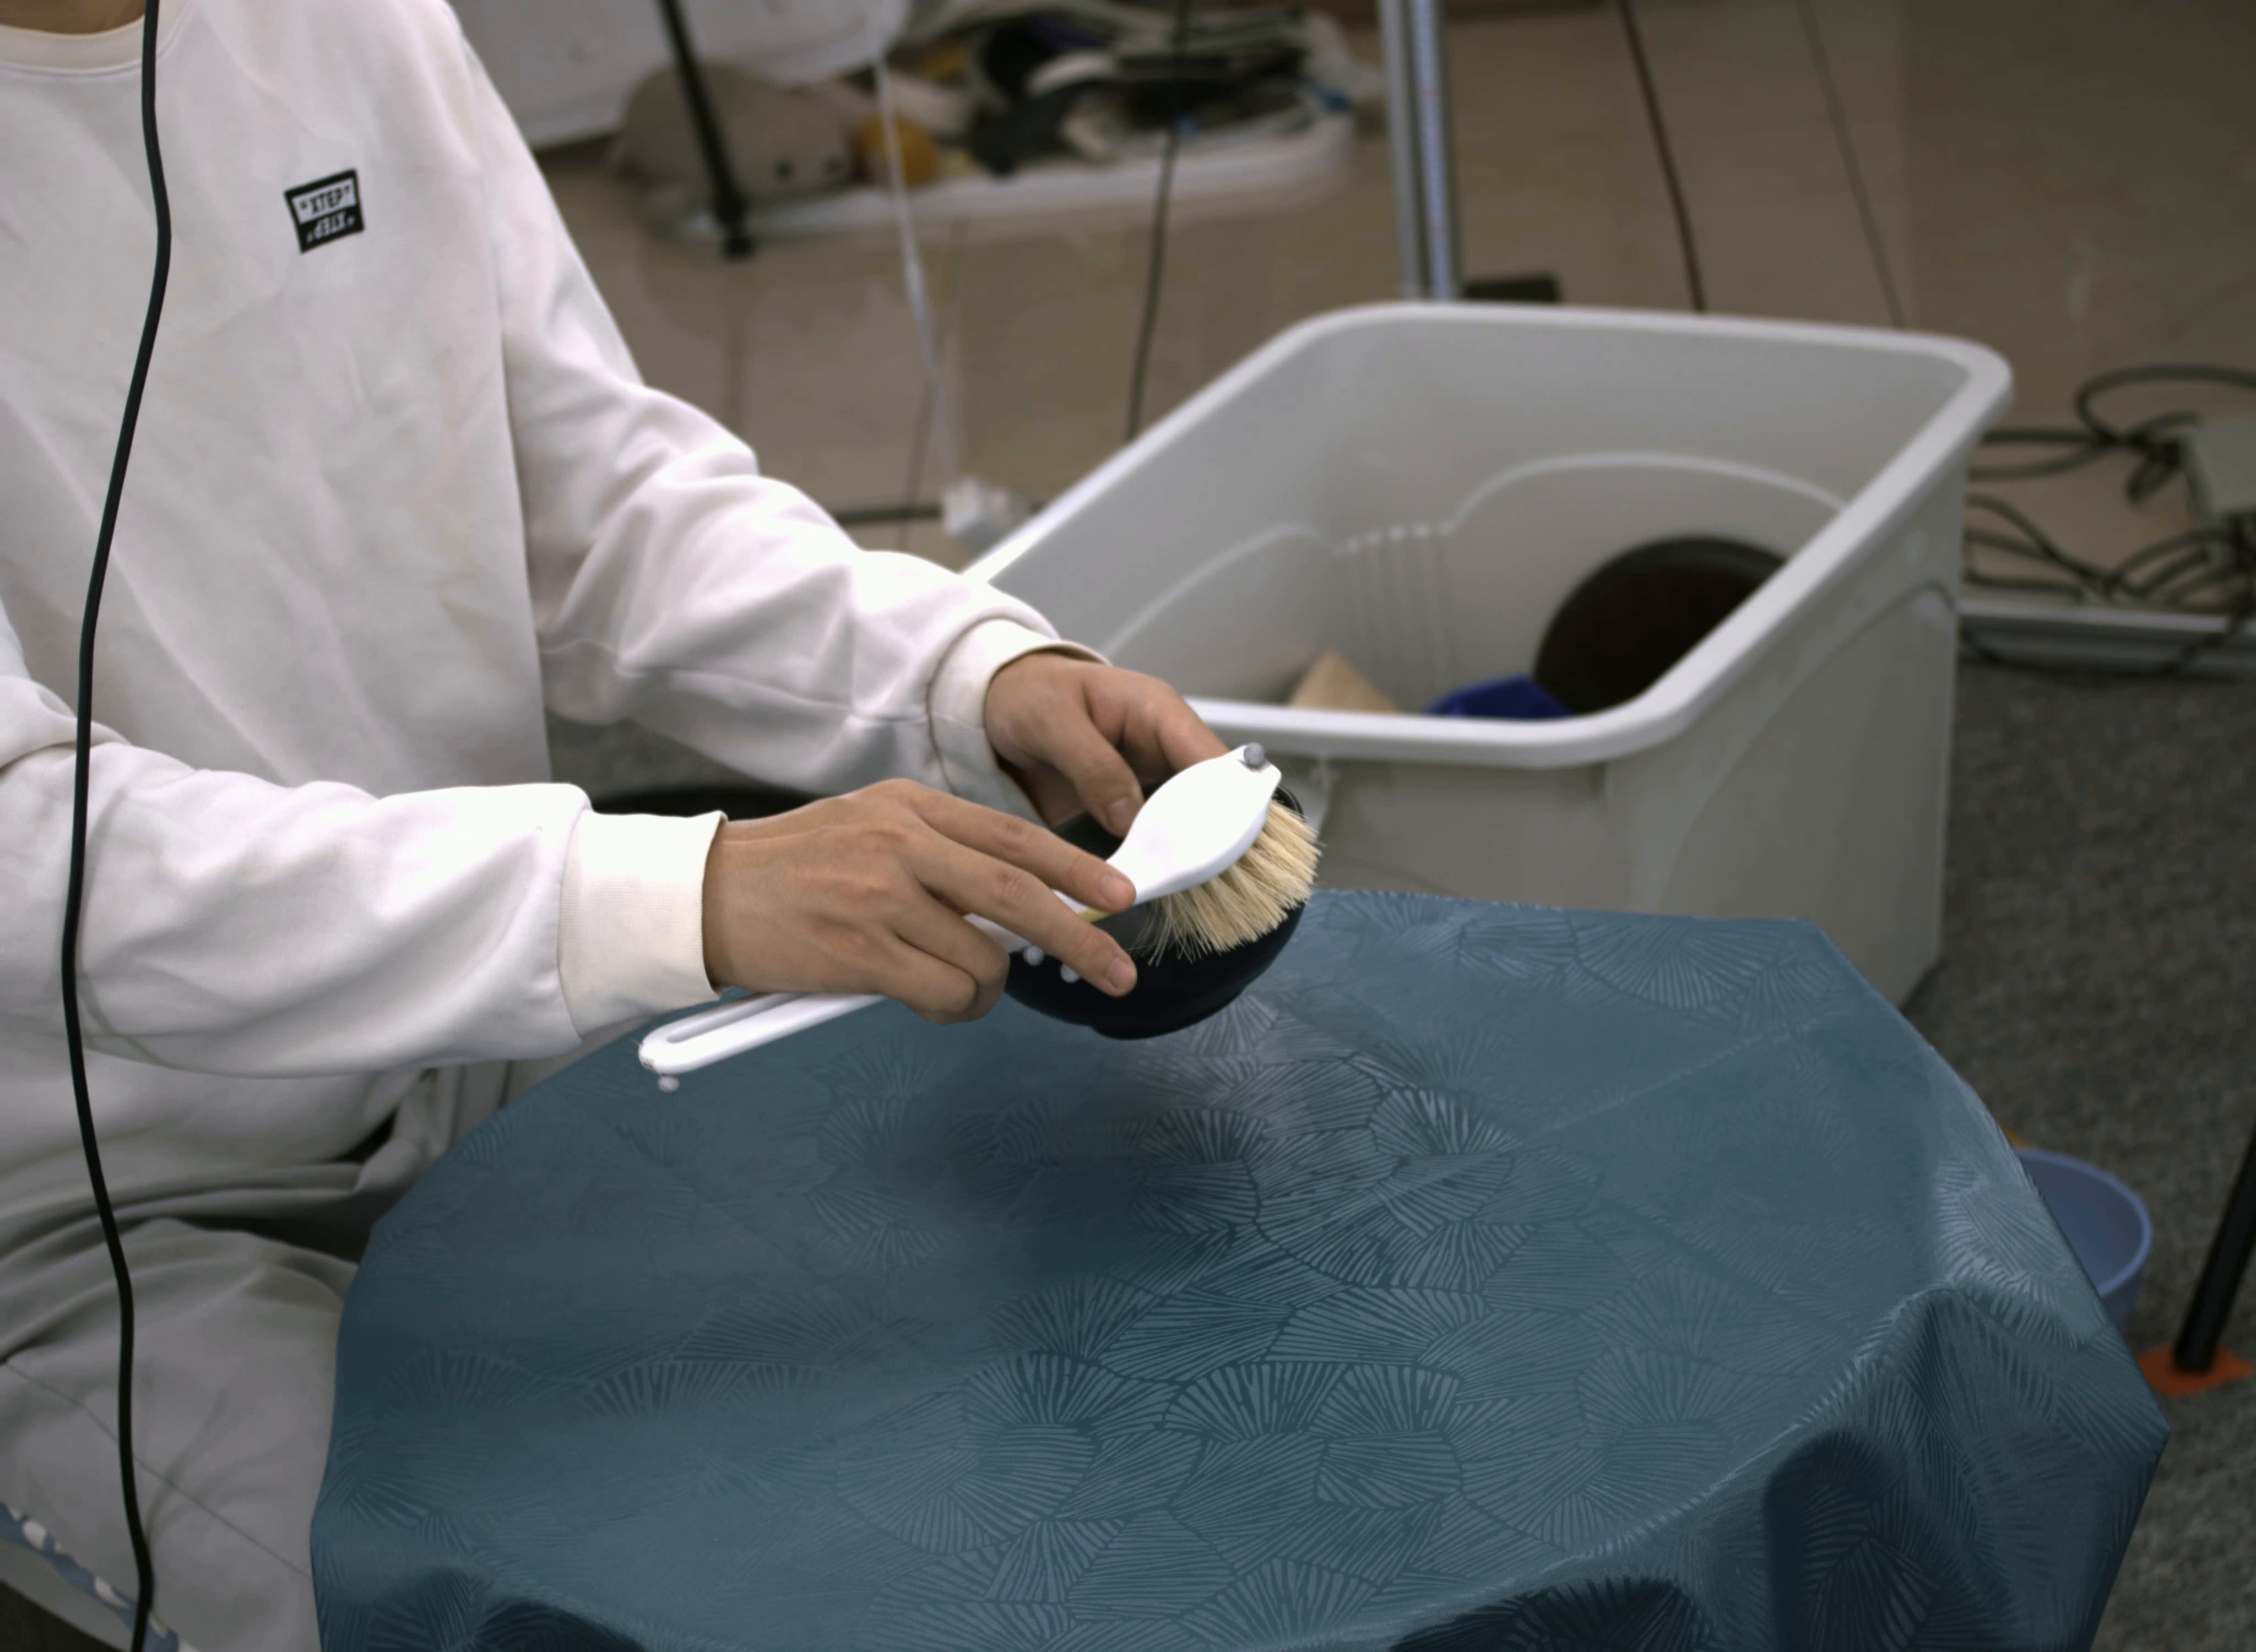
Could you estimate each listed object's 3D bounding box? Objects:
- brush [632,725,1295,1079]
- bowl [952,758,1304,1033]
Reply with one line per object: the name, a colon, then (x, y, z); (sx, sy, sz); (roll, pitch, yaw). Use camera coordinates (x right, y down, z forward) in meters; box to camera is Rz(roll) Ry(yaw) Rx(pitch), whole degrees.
brush: (-0.057, 0.045, 2.065); (0.265, 0.057, 0.068); (-28, 33, -17)
bowl: (0.006, 0.036, 2.169); (0.136, 0.067, 0.169); (-33, 22, -18)
